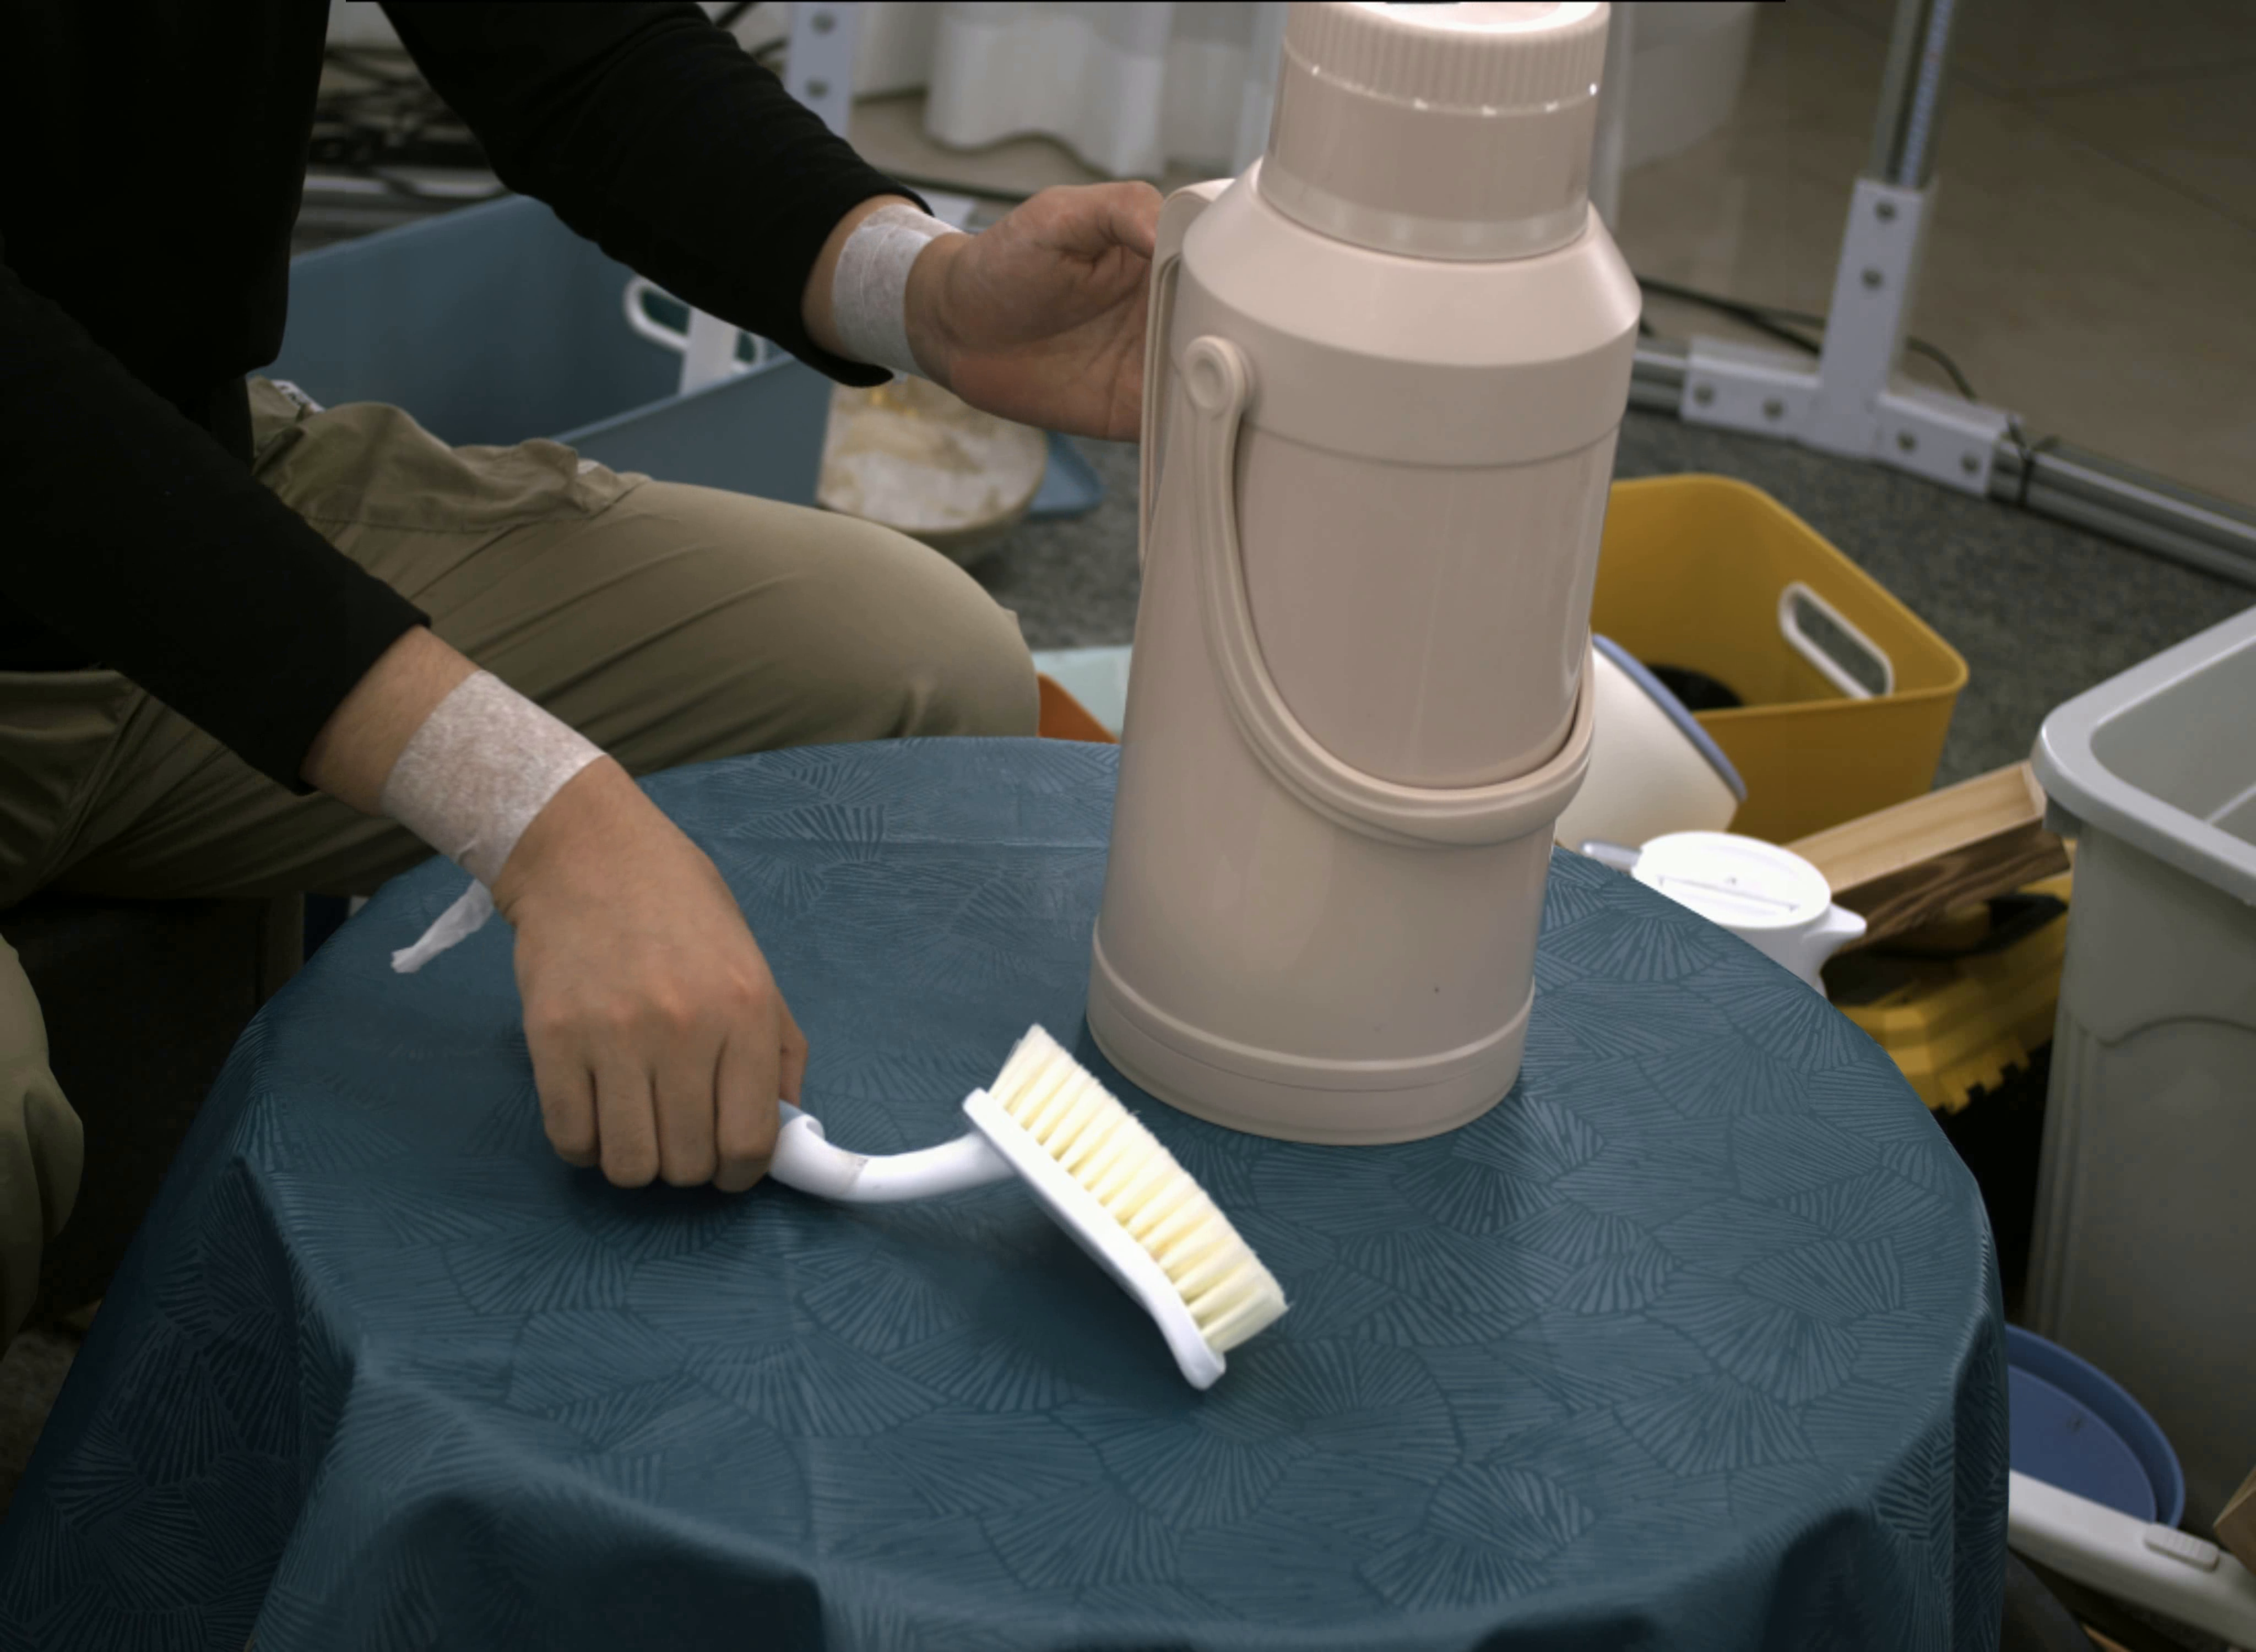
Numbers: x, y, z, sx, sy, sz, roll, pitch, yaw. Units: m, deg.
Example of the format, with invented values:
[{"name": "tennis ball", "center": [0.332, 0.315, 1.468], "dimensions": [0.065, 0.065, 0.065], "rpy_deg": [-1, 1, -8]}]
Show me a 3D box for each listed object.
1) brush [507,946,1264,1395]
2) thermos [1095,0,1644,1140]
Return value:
[{"name": "brush", "center": [-0.078, 0.085, 1.775], "dimensions": [0.328, 0.083, 0.084], "rpy_deg": [28, 35, 34]}, {"name": "thermos", "center": [0.078, -0.108, 1.837], "dimensions": [0.174, 0.405, 0.209], "rpy_deg": [-17, 35, -36]}]
